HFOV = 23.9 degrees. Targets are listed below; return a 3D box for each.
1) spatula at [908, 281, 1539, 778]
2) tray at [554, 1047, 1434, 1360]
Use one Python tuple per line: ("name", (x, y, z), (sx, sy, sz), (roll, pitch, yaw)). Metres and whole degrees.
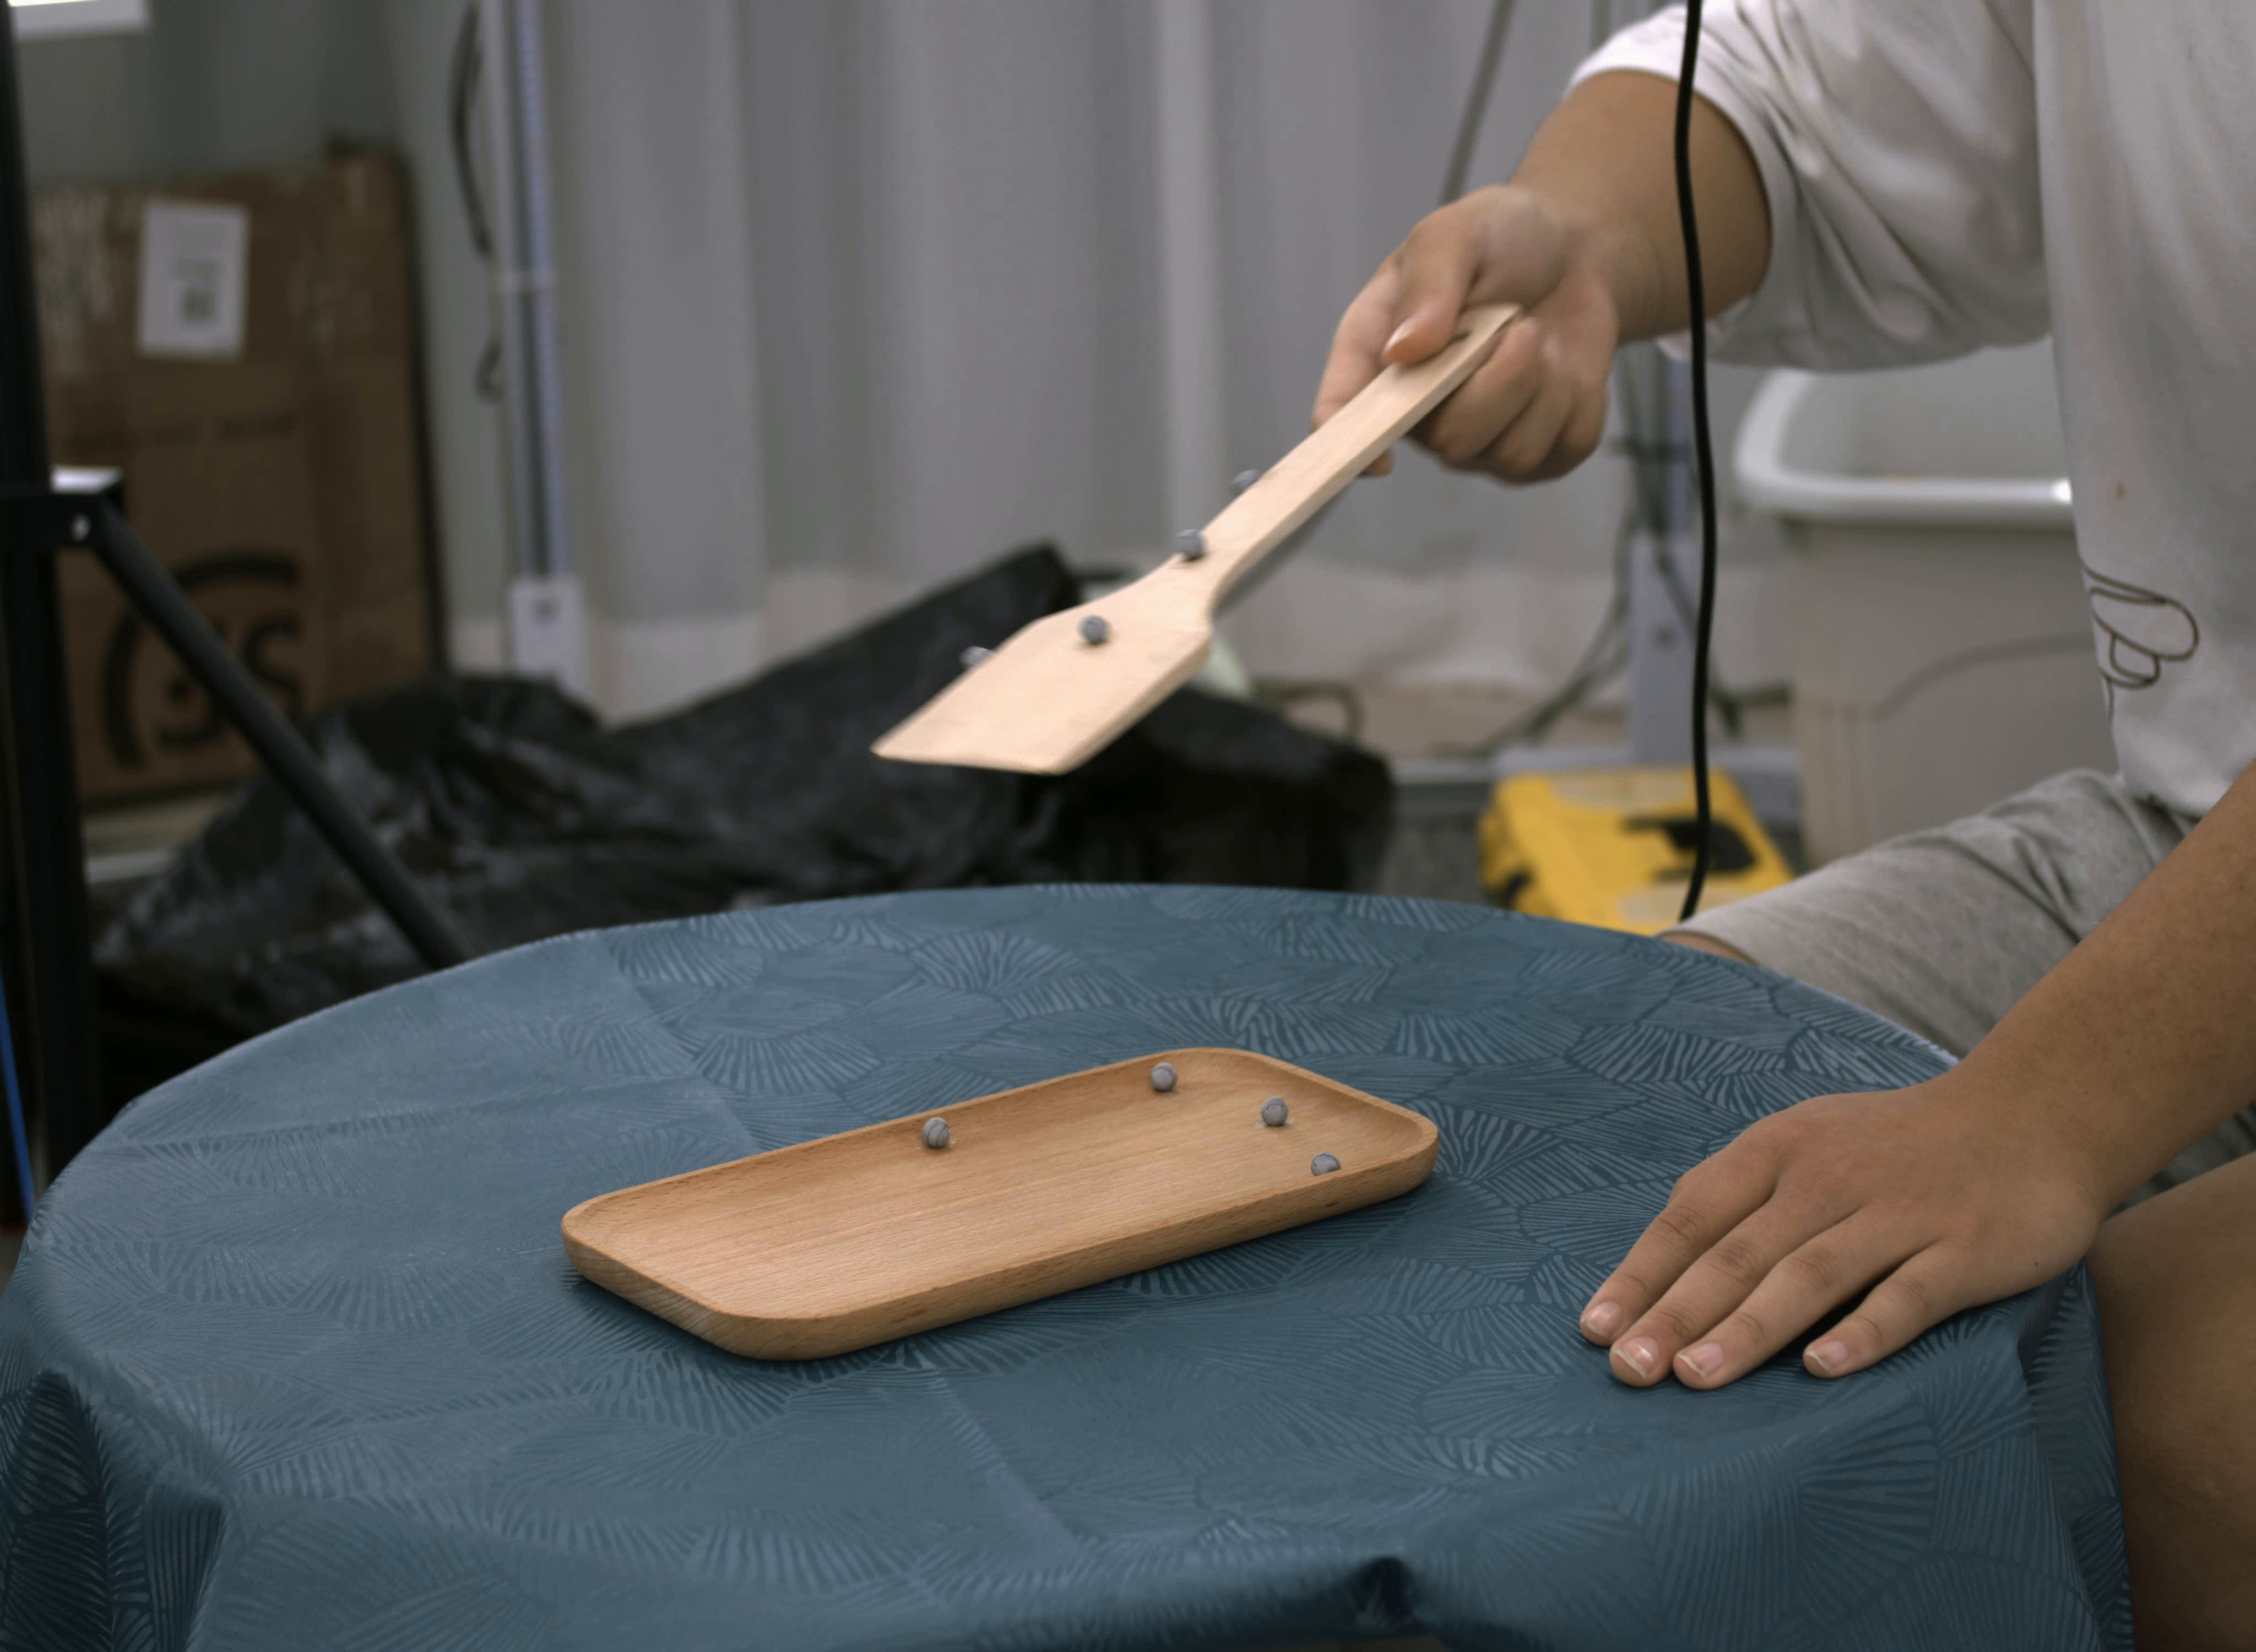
("spatula", (0.041, -0.092, 1.607), (0.074, 0.010, 0.289), (4, 36, 40))
("tray", (-0.036, 0.107, 1.538), (0.245, 0.023, 0.133), (-13, 17, -32))
